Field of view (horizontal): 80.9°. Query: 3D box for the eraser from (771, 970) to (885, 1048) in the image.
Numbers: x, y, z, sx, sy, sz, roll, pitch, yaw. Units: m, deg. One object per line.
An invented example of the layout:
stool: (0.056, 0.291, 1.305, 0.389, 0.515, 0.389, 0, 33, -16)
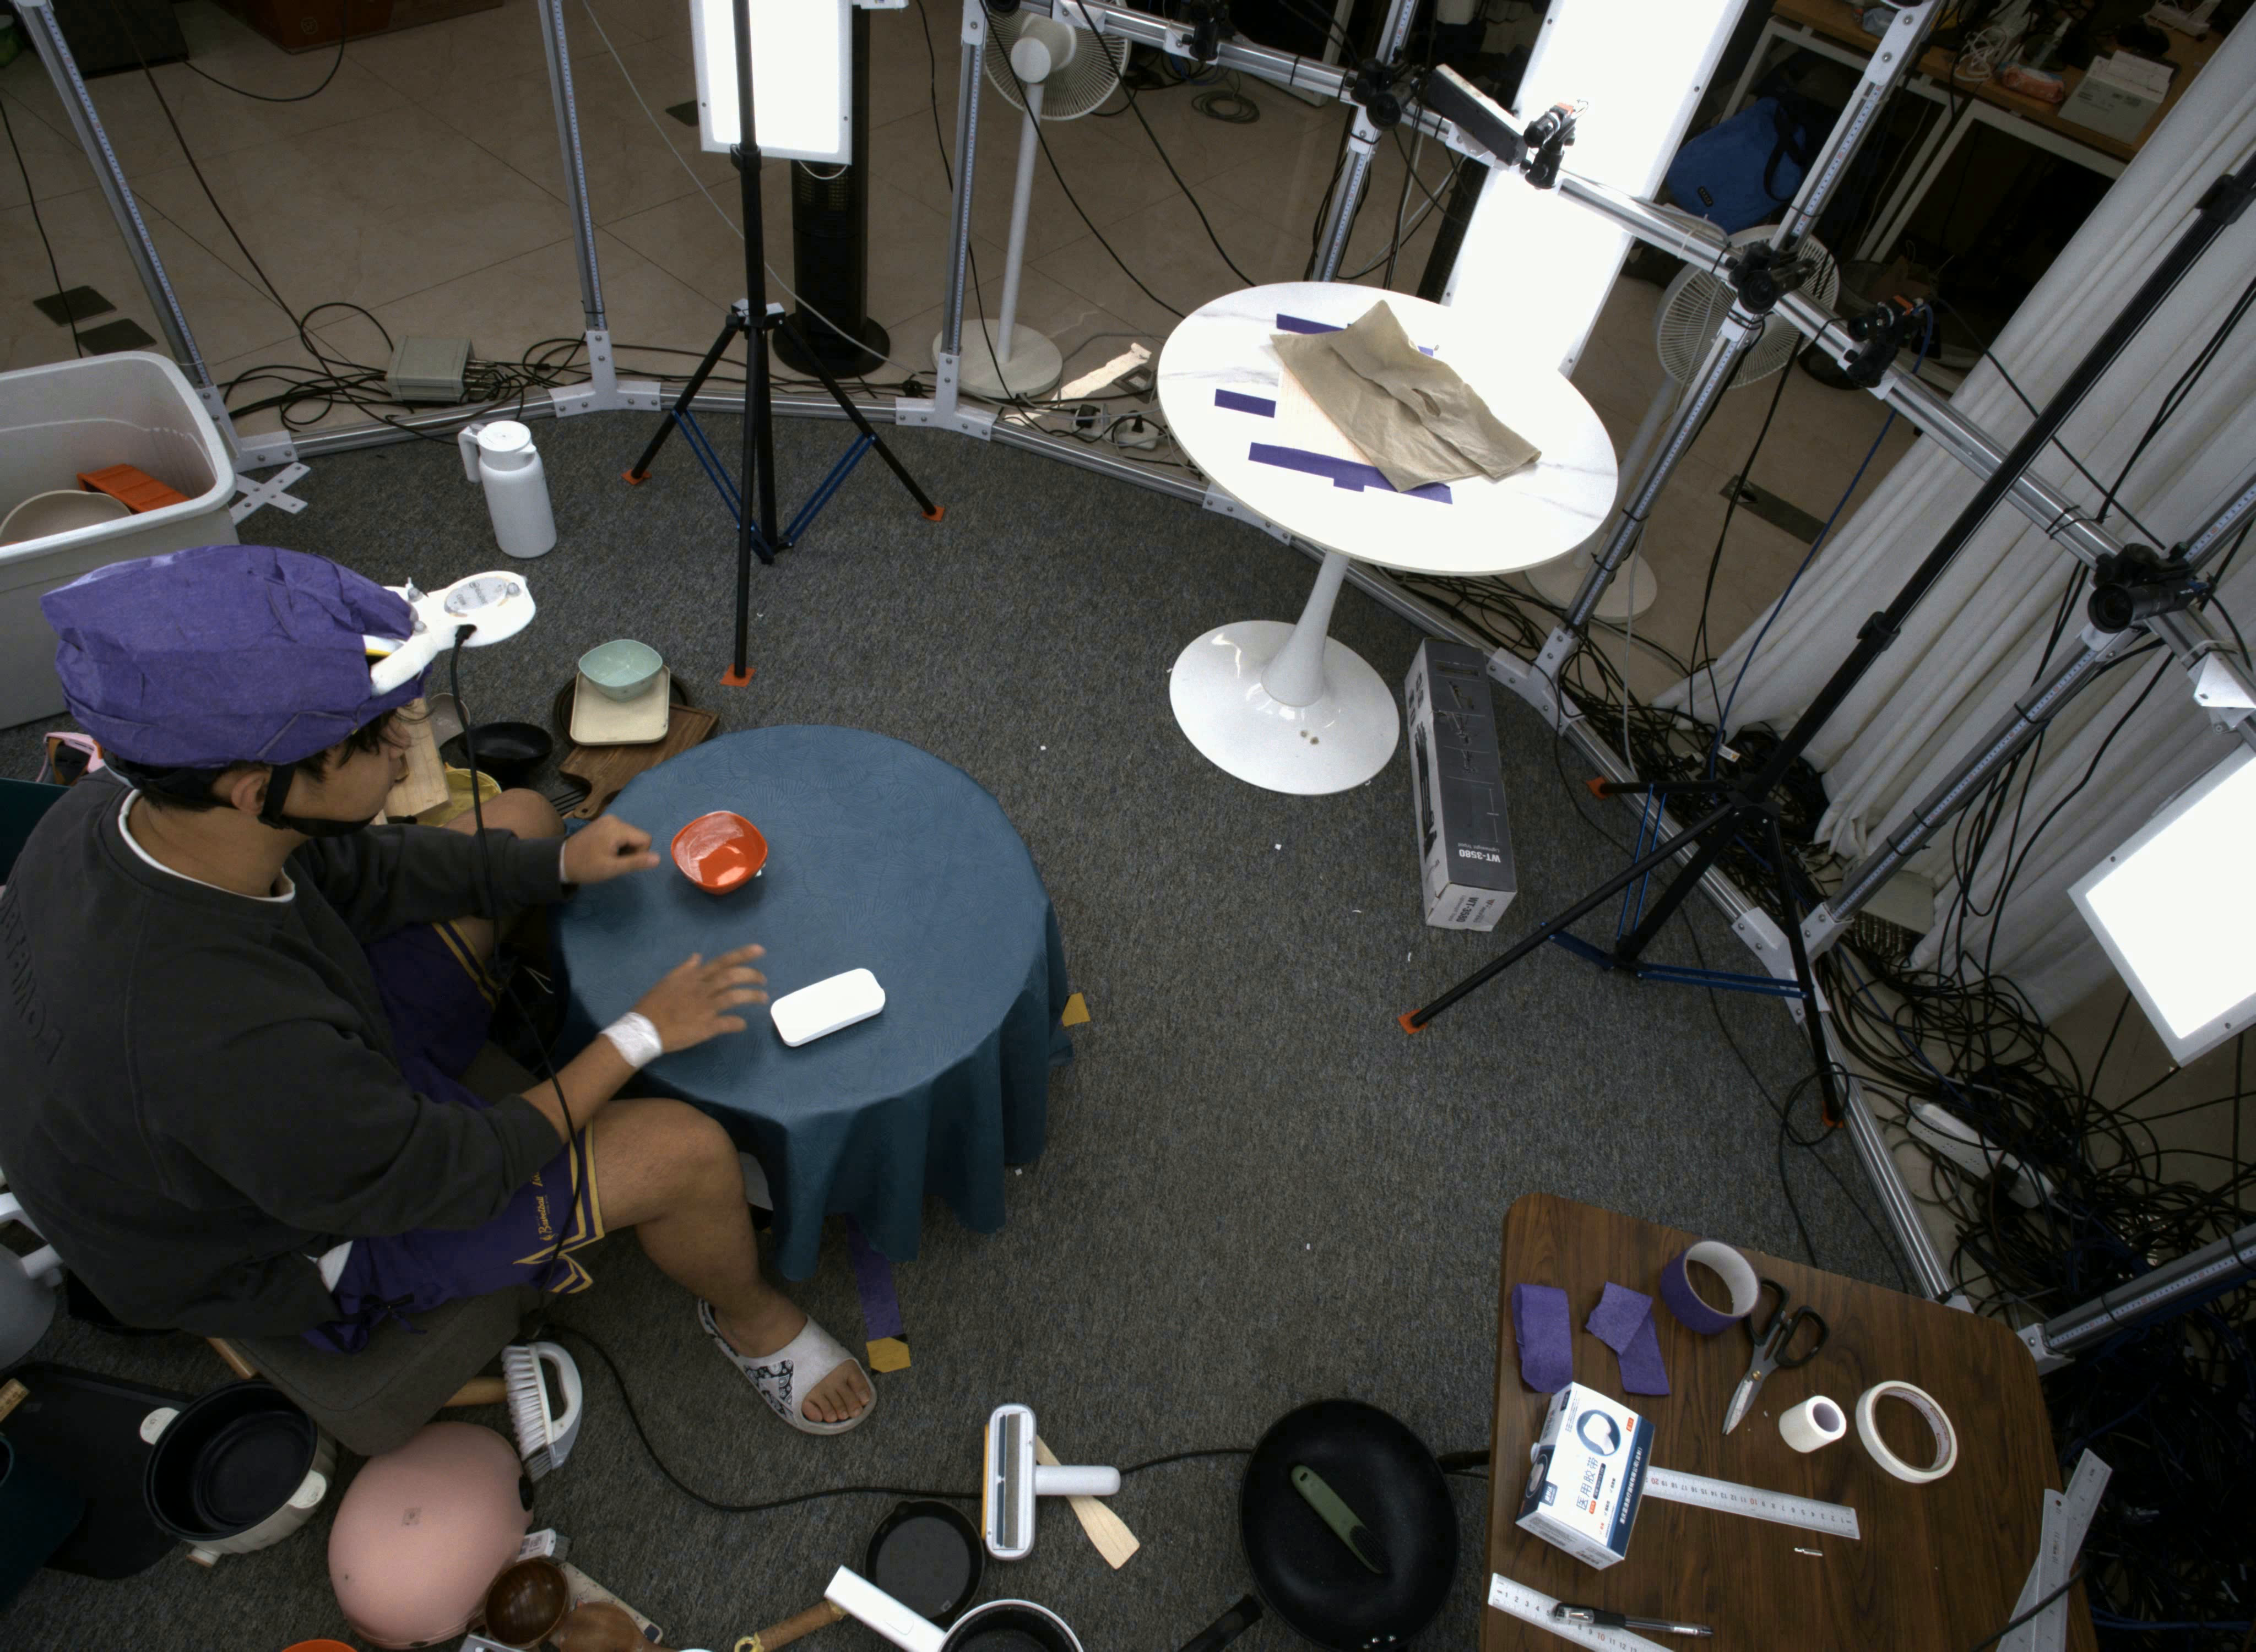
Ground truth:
eraser: (-0.361, 0.216, 1.563, 0.132, 0.035, 0.062, -18, 58, -28)

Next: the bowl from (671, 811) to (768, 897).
bowl: (-0.517, 0.042, 1.641, 0.119, 0.052, 0.117, 8, 53, -9)
